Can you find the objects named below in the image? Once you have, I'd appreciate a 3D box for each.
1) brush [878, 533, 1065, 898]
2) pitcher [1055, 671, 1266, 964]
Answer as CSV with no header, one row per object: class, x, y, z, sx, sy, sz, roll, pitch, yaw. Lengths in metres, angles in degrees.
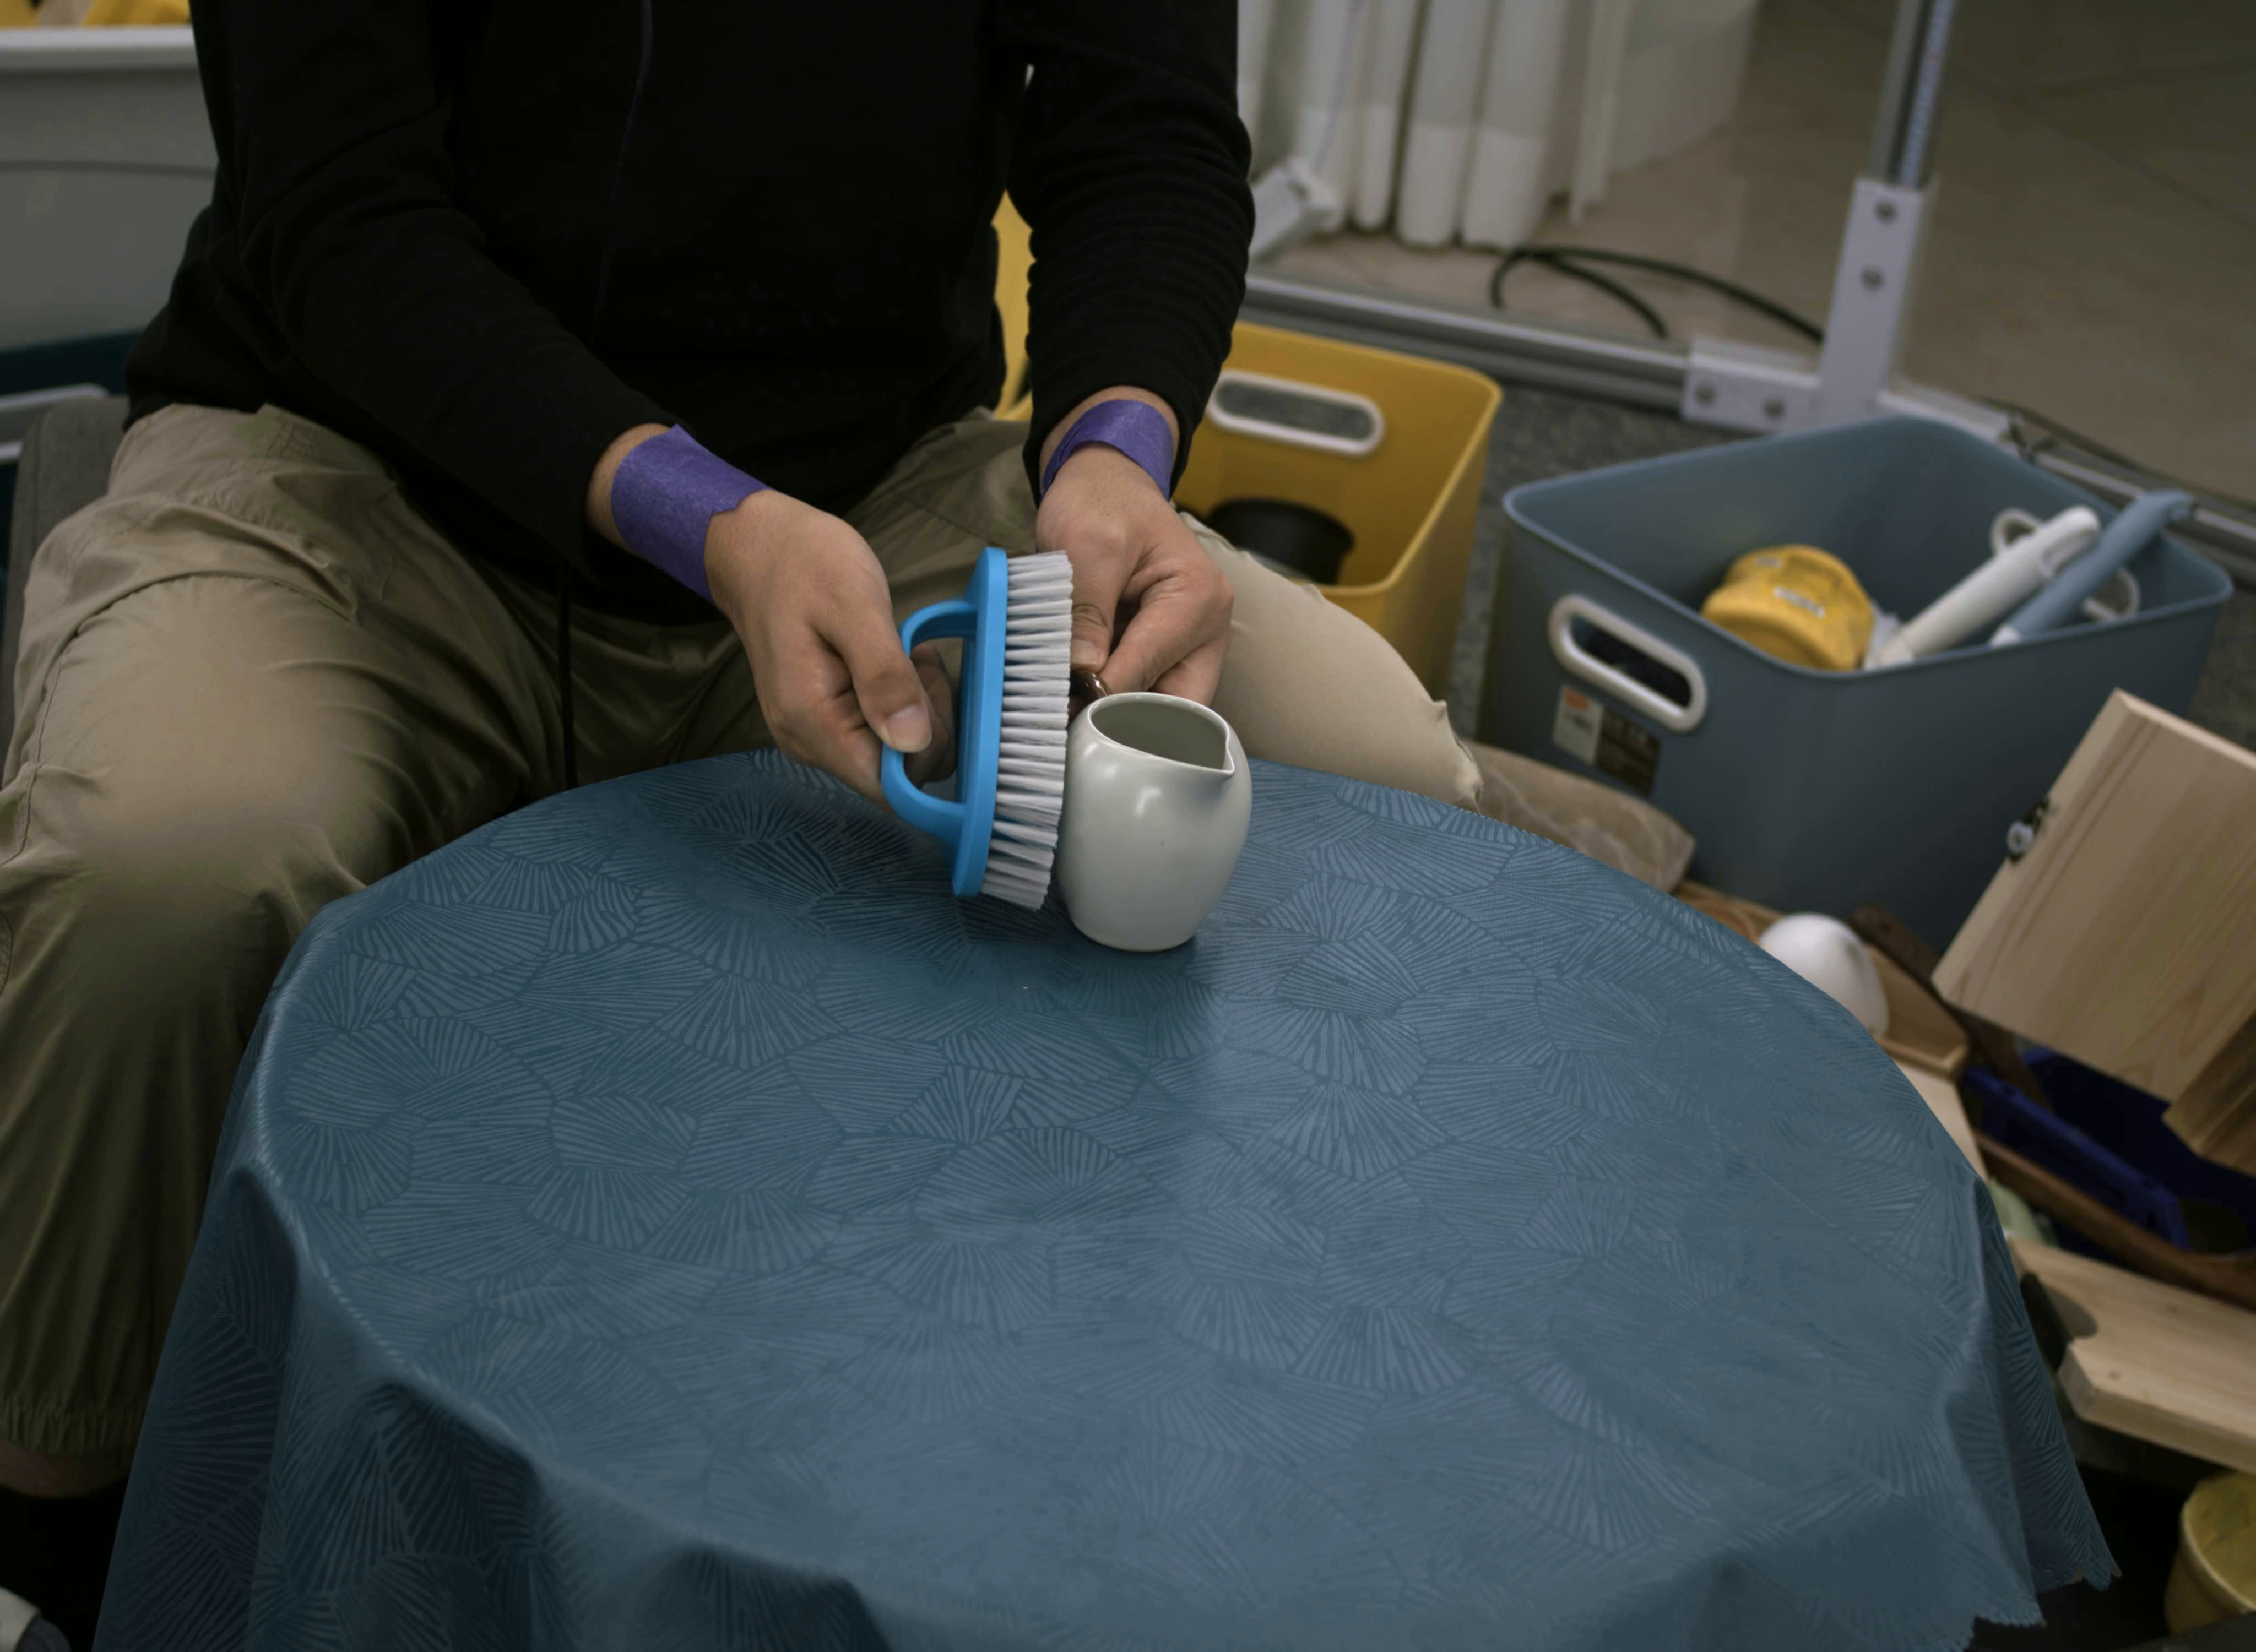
brush,-0.059,-0.040,1.960,0.063,0.084,0.143,5,64,-3
pitcher,0.007,-0.002,1.952,0.075,0.087,0.120,-1,31,-28
